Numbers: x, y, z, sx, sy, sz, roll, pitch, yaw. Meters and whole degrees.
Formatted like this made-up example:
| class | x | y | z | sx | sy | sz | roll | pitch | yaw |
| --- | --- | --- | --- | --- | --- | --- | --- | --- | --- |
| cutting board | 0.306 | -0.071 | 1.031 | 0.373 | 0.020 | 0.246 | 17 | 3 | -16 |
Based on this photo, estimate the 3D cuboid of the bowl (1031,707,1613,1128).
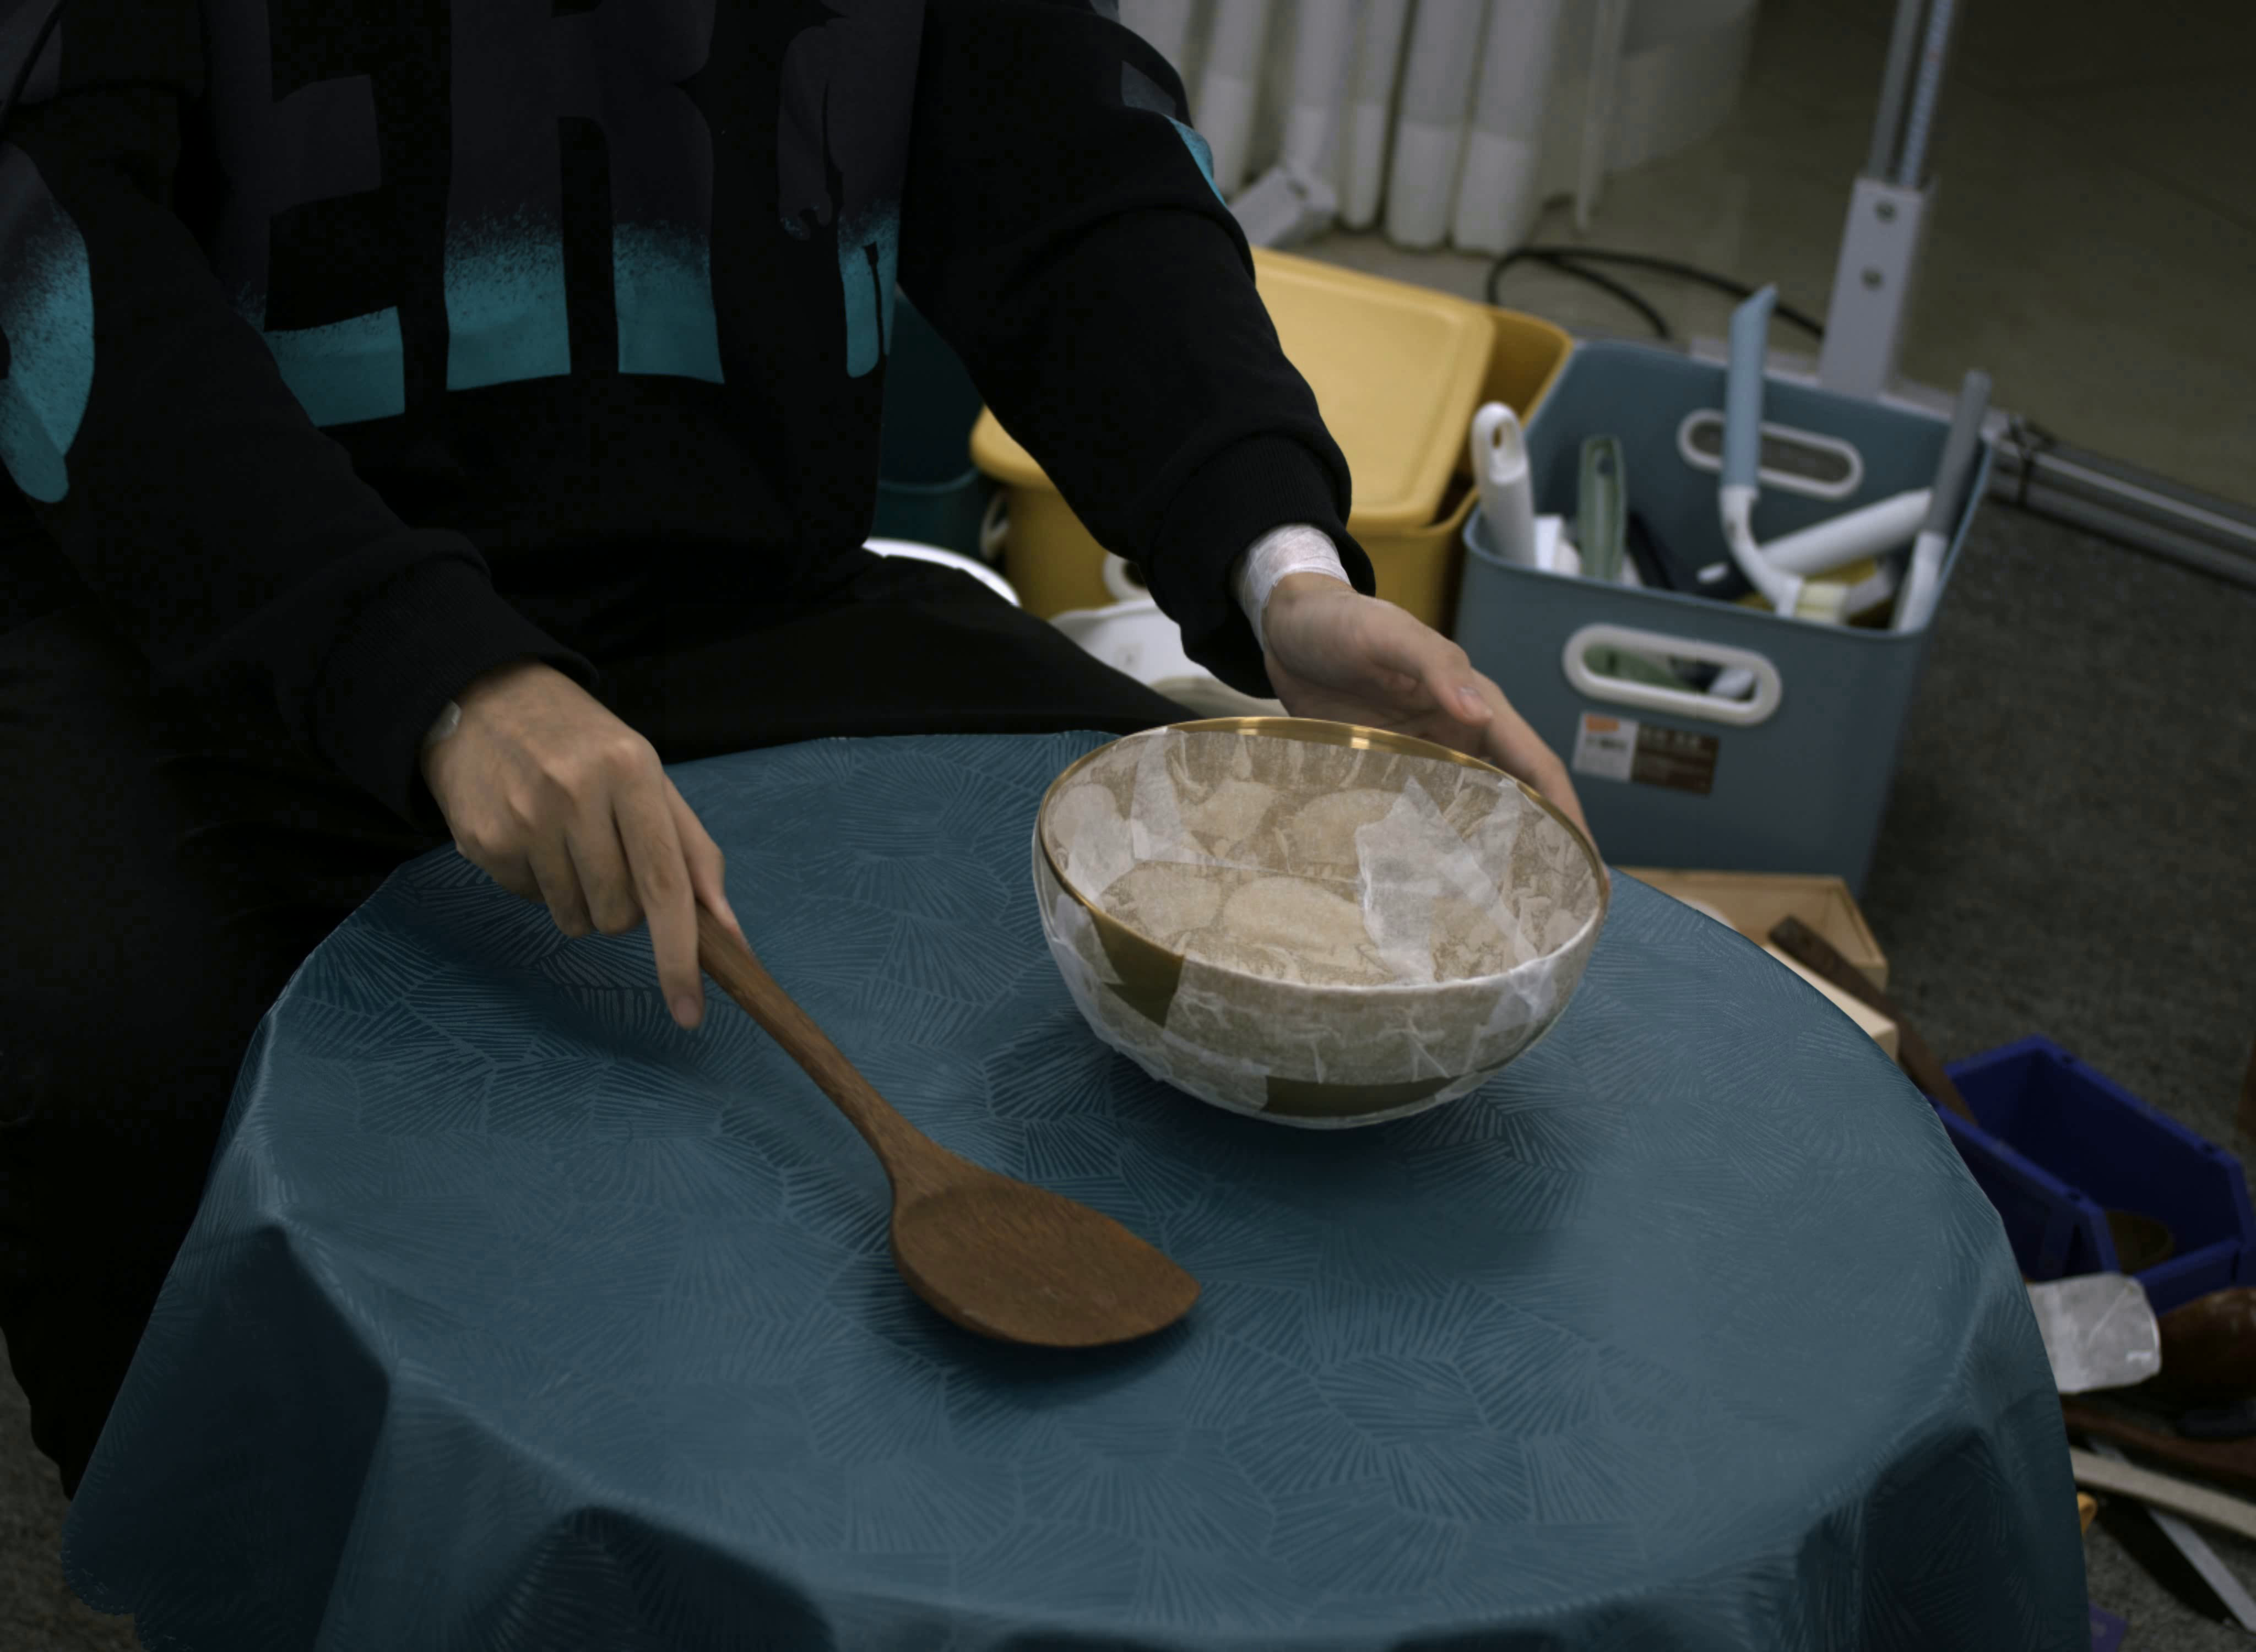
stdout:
| class | x | y | z | sx | sy | sz | roll | pitch | yaw |
| --- | --- | --- | --- | --- | --- | --- | --- | --- | --- |
| bowl | 0.065 | 0.044 | 1.868 | 0.214 | 0.094 | 0.216 | 3 | 27 | -2 |

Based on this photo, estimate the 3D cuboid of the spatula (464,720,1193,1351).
| class | x | y | z | sx | sy | sz | roll | pitch | yaw |
| --- | --- | --- | --- | --- | --- | --- | --- | --- | --- |
| spatula | -0.120 | 0.063 | 1.810 | 0.095 | 0.016 | 0.389 | -10 | 38 | -39 |
